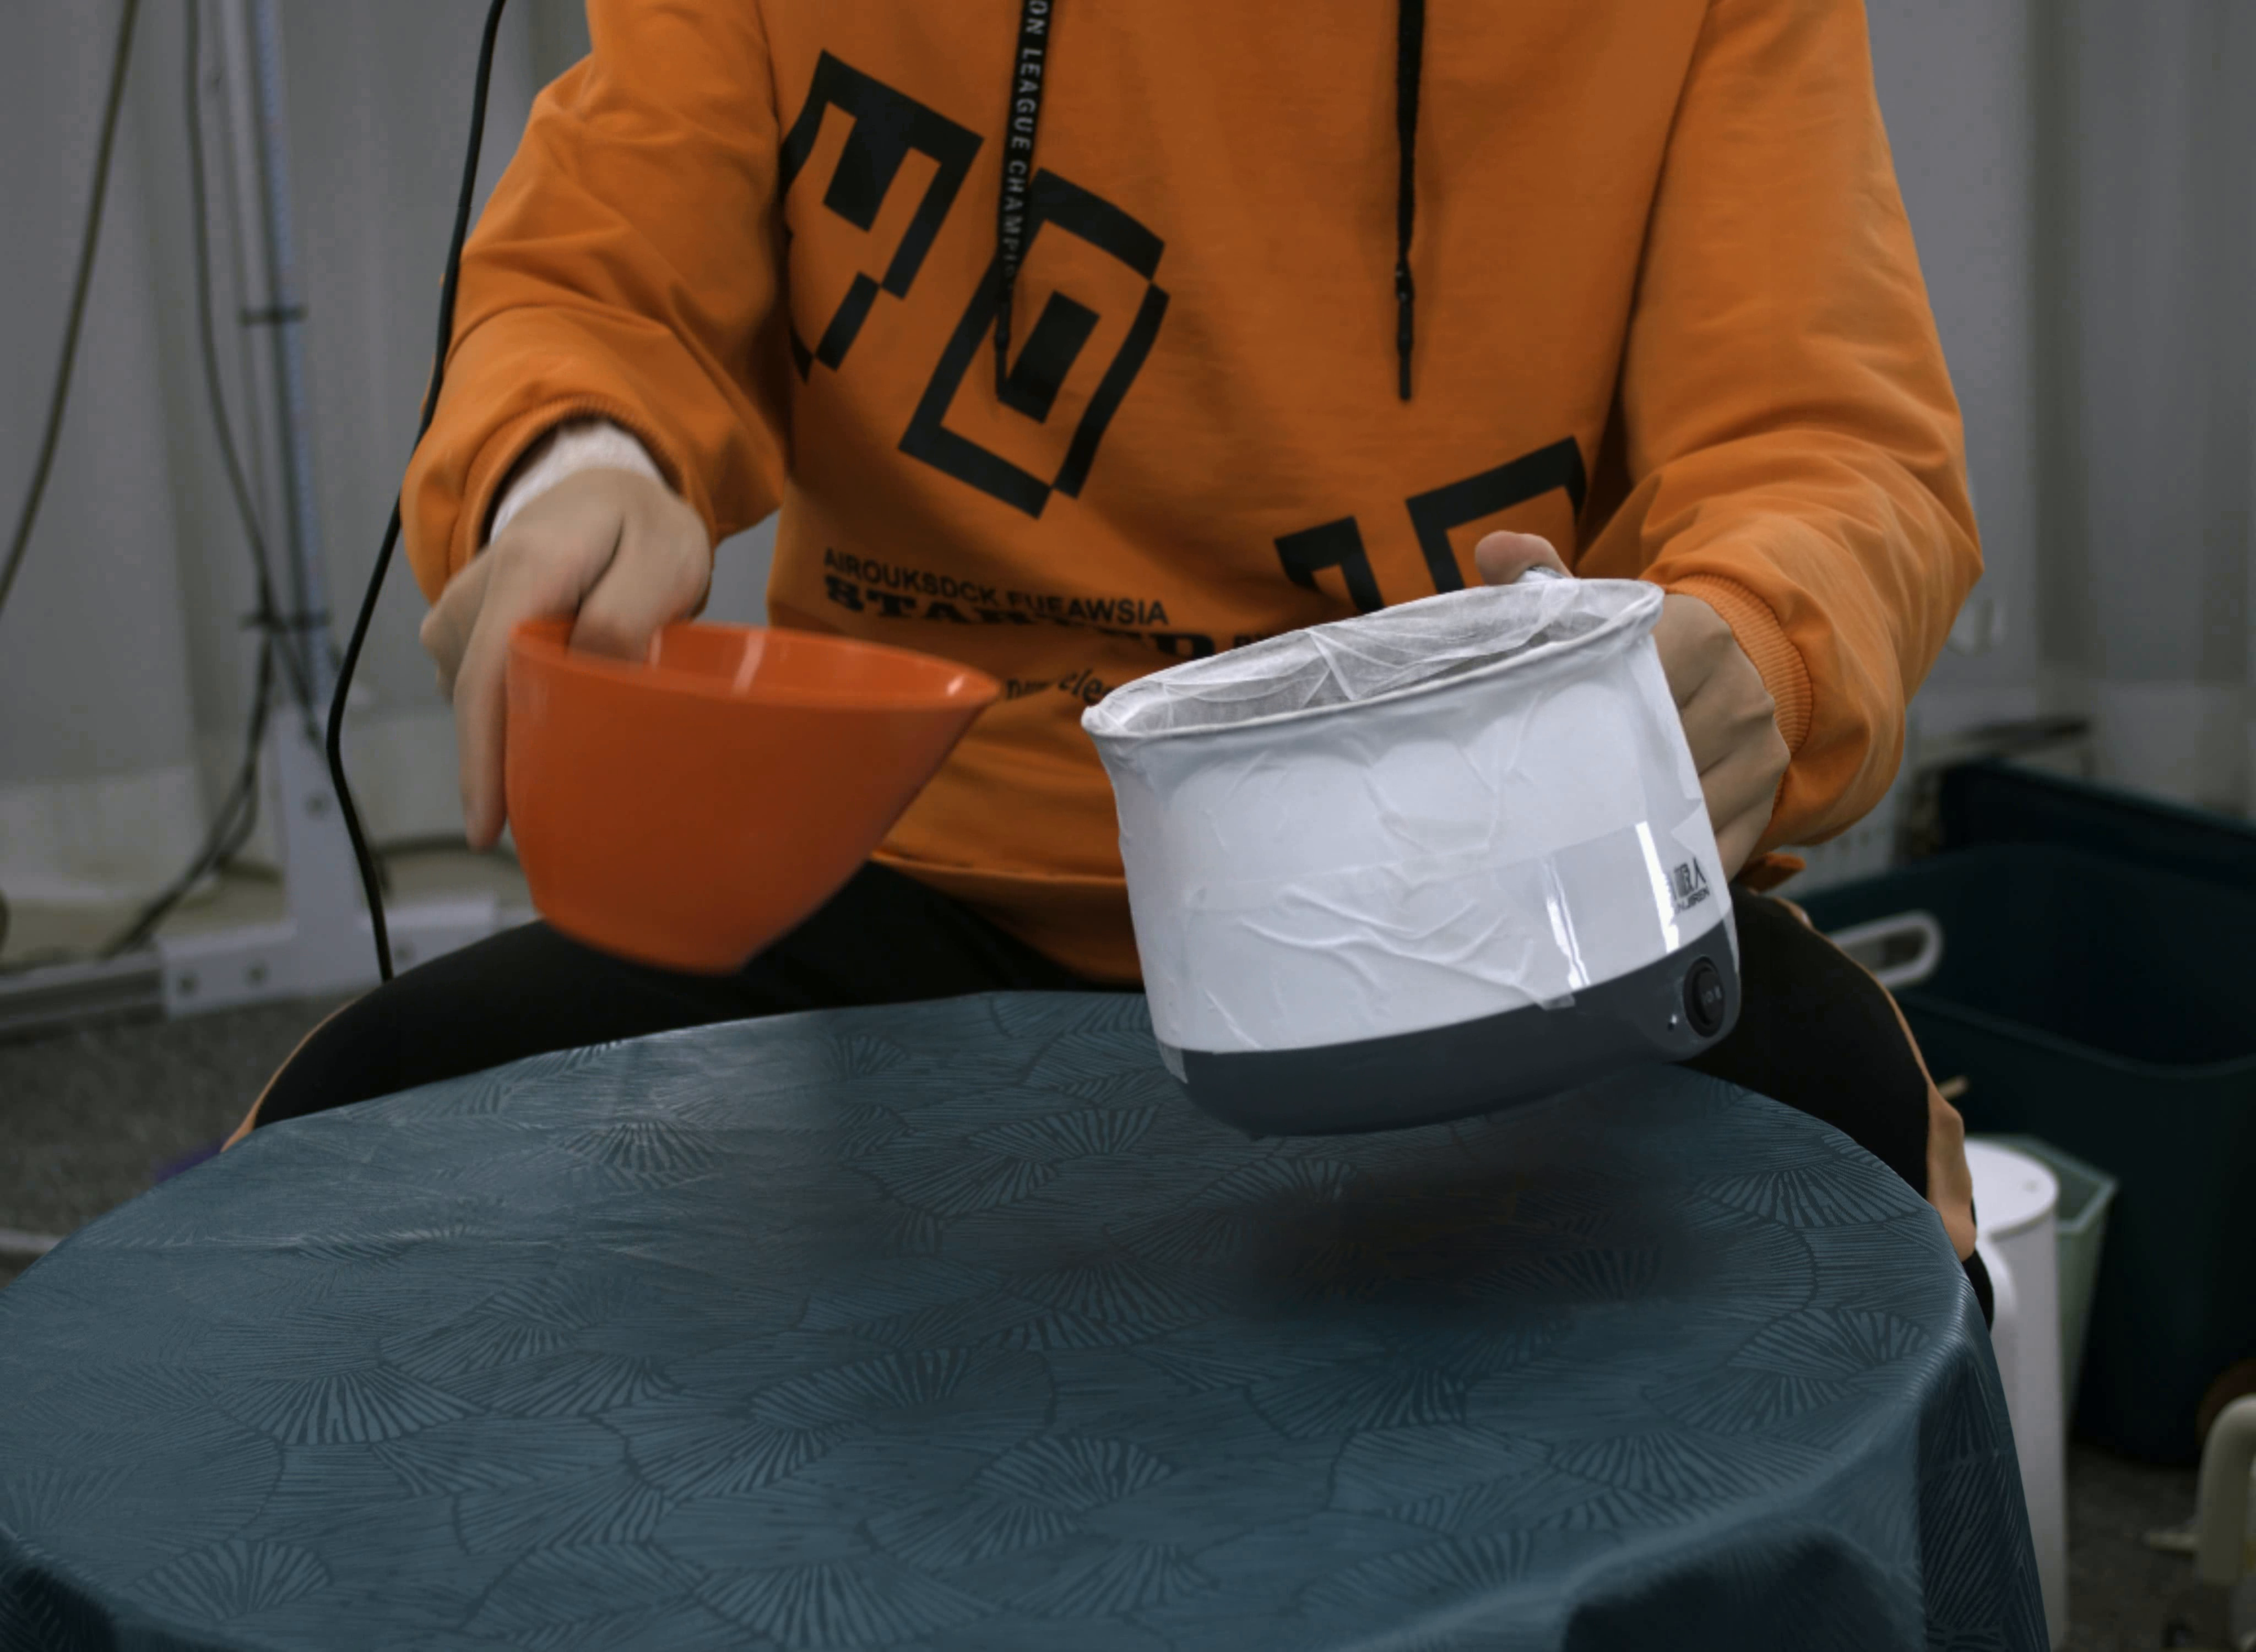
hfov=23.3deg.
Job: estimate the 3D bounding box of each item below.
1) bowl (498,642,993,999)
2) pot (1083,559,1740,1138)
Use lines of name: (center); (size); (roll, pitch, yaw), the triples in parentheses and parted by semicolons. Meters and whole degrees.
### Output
bowl: (-0.125, -0.004, 1.649); (0.147, 0.104, 0.148); (15, 10, -3)
pot: (0.100, 0.002, 1.649); (0.179, 0.136, 0.234); (-6, 11, 34)
